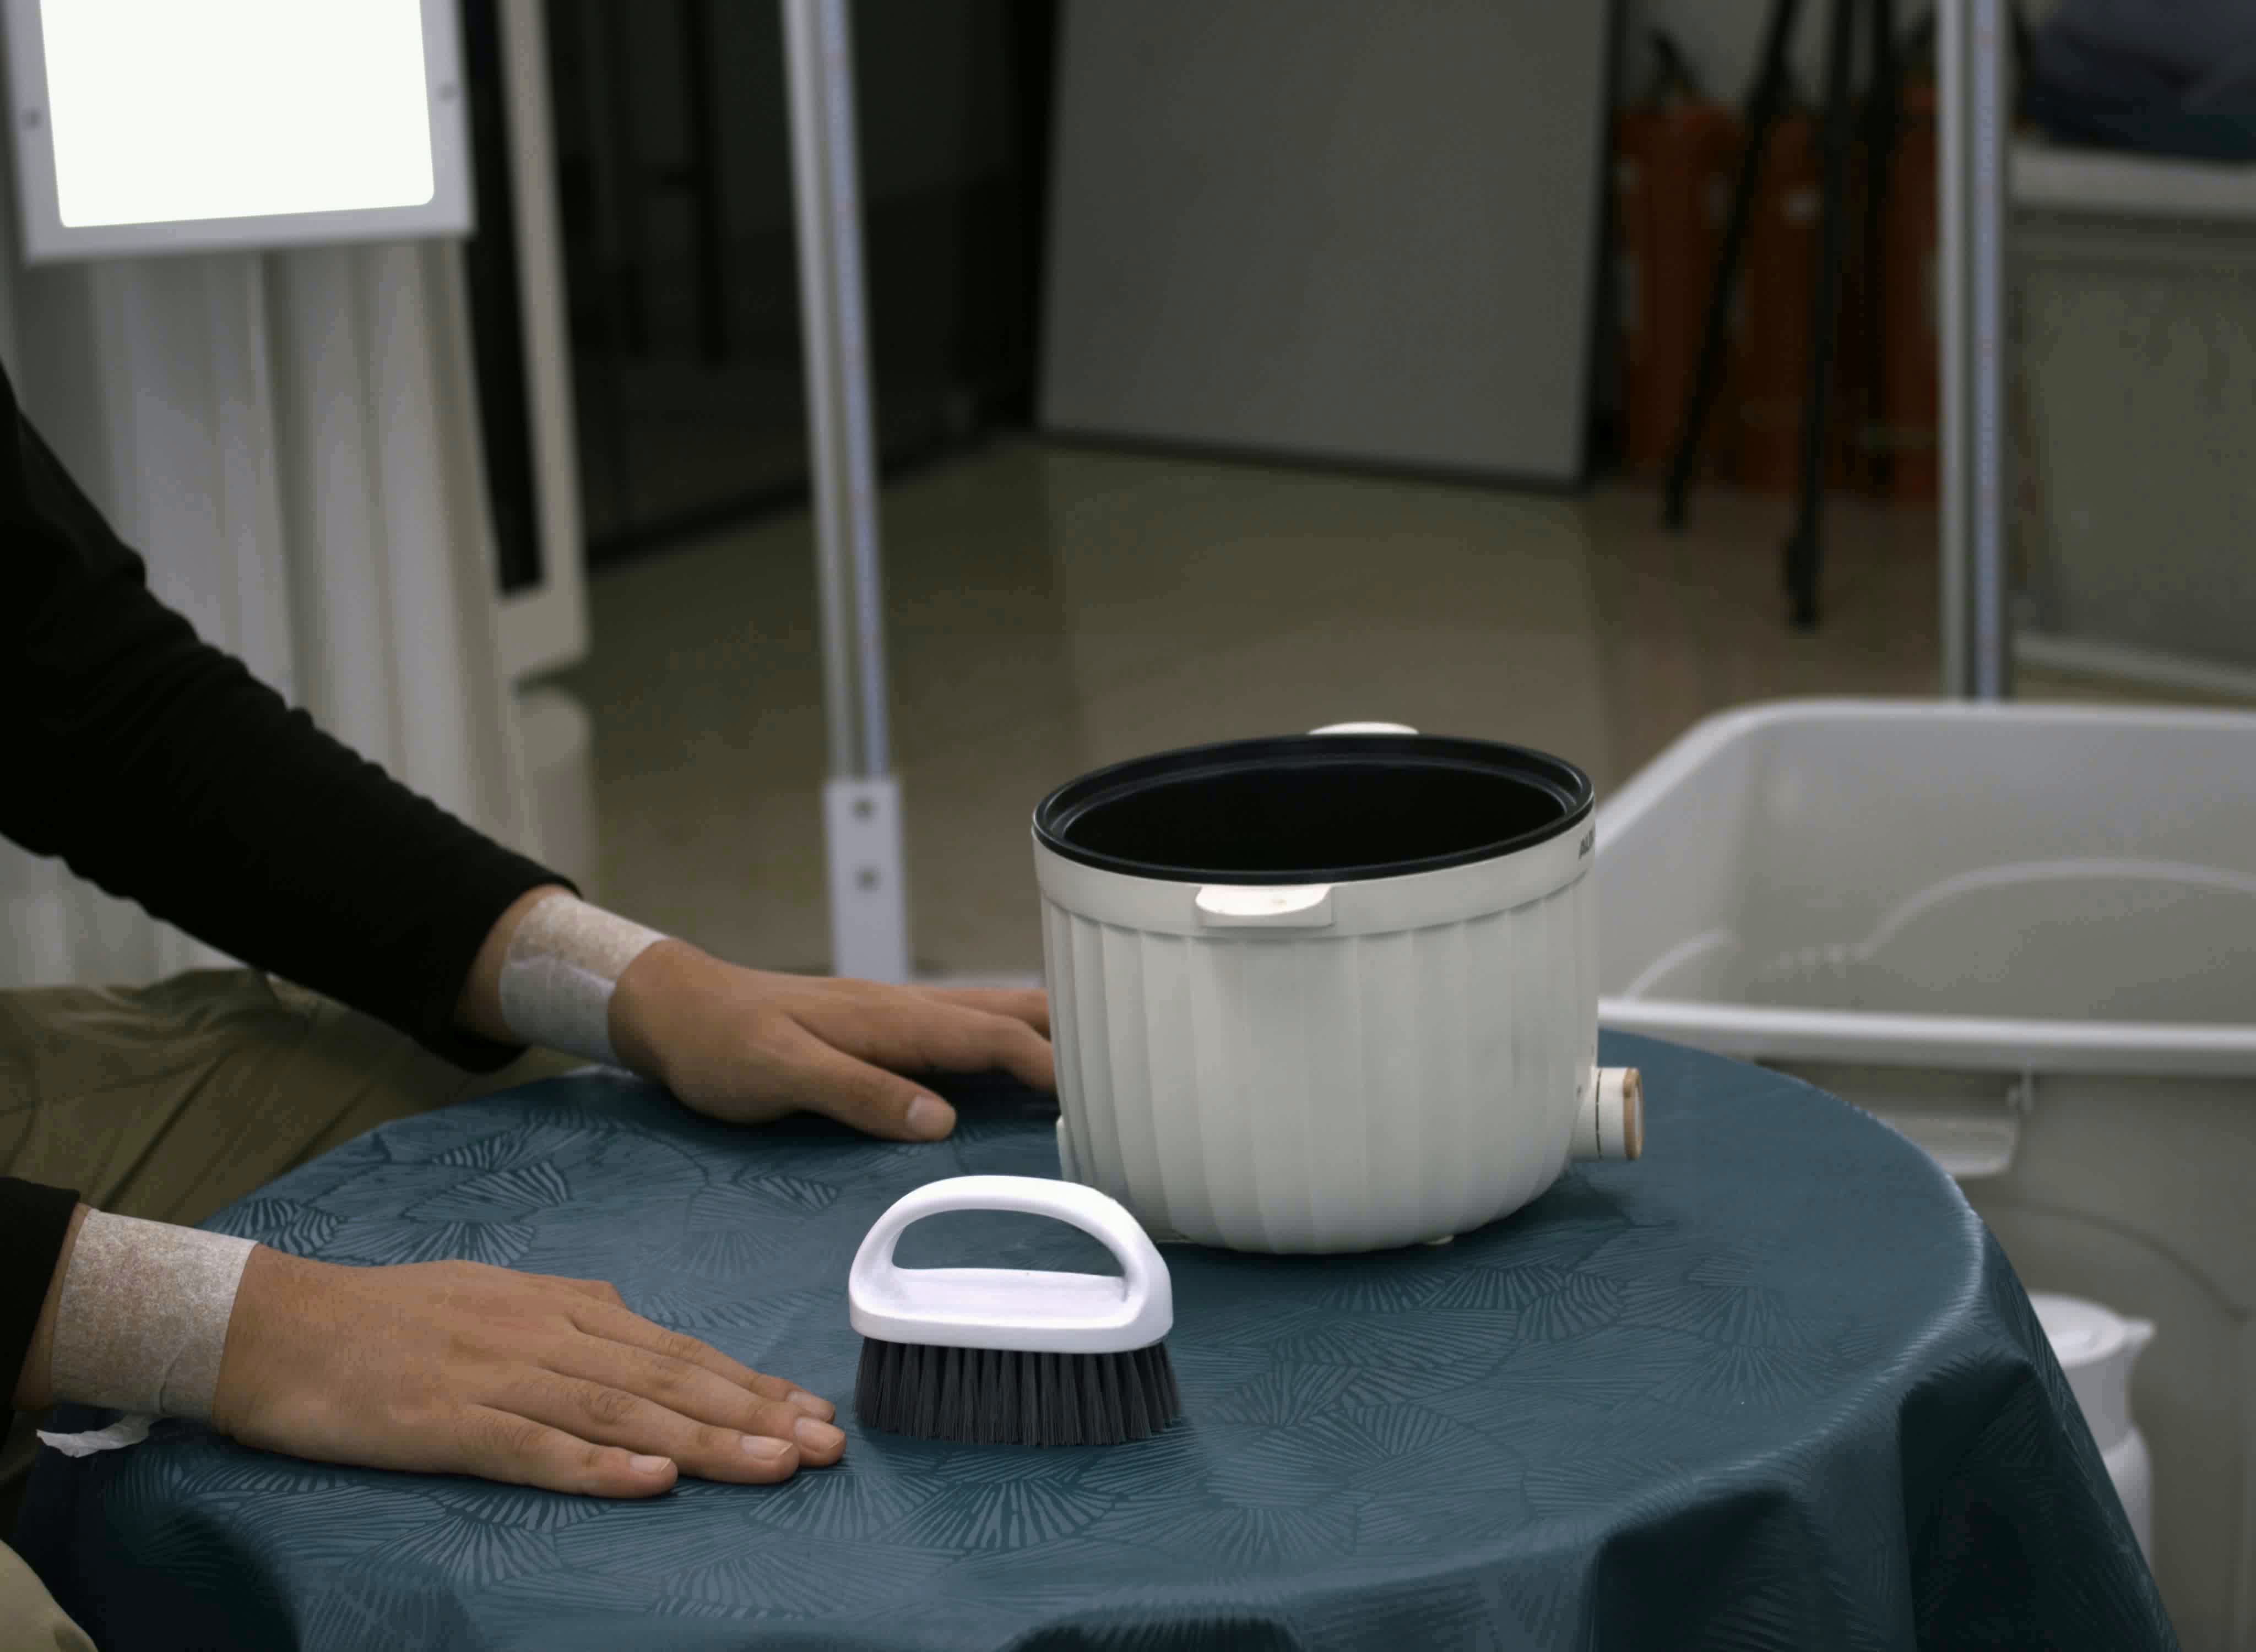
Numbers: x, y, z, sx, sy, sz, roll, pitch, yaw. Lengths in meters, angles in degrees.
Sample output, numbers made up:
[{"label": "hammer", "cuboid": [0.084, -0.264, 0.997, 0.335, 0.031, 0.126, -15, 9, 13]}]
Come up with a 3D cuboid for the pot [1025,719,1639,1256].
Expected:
[{"label": "pot", "cuboid": [0.067, 0.054, 1.731, 0.189, 0.144, 0.239, -4, 15, 12]}]

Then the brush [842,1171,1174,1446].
[{"label": "brush", "cuboid": [-0.036, 0.136, 1.564, 0.099, 0.073, 0.050, 1, 14, 20]}]
